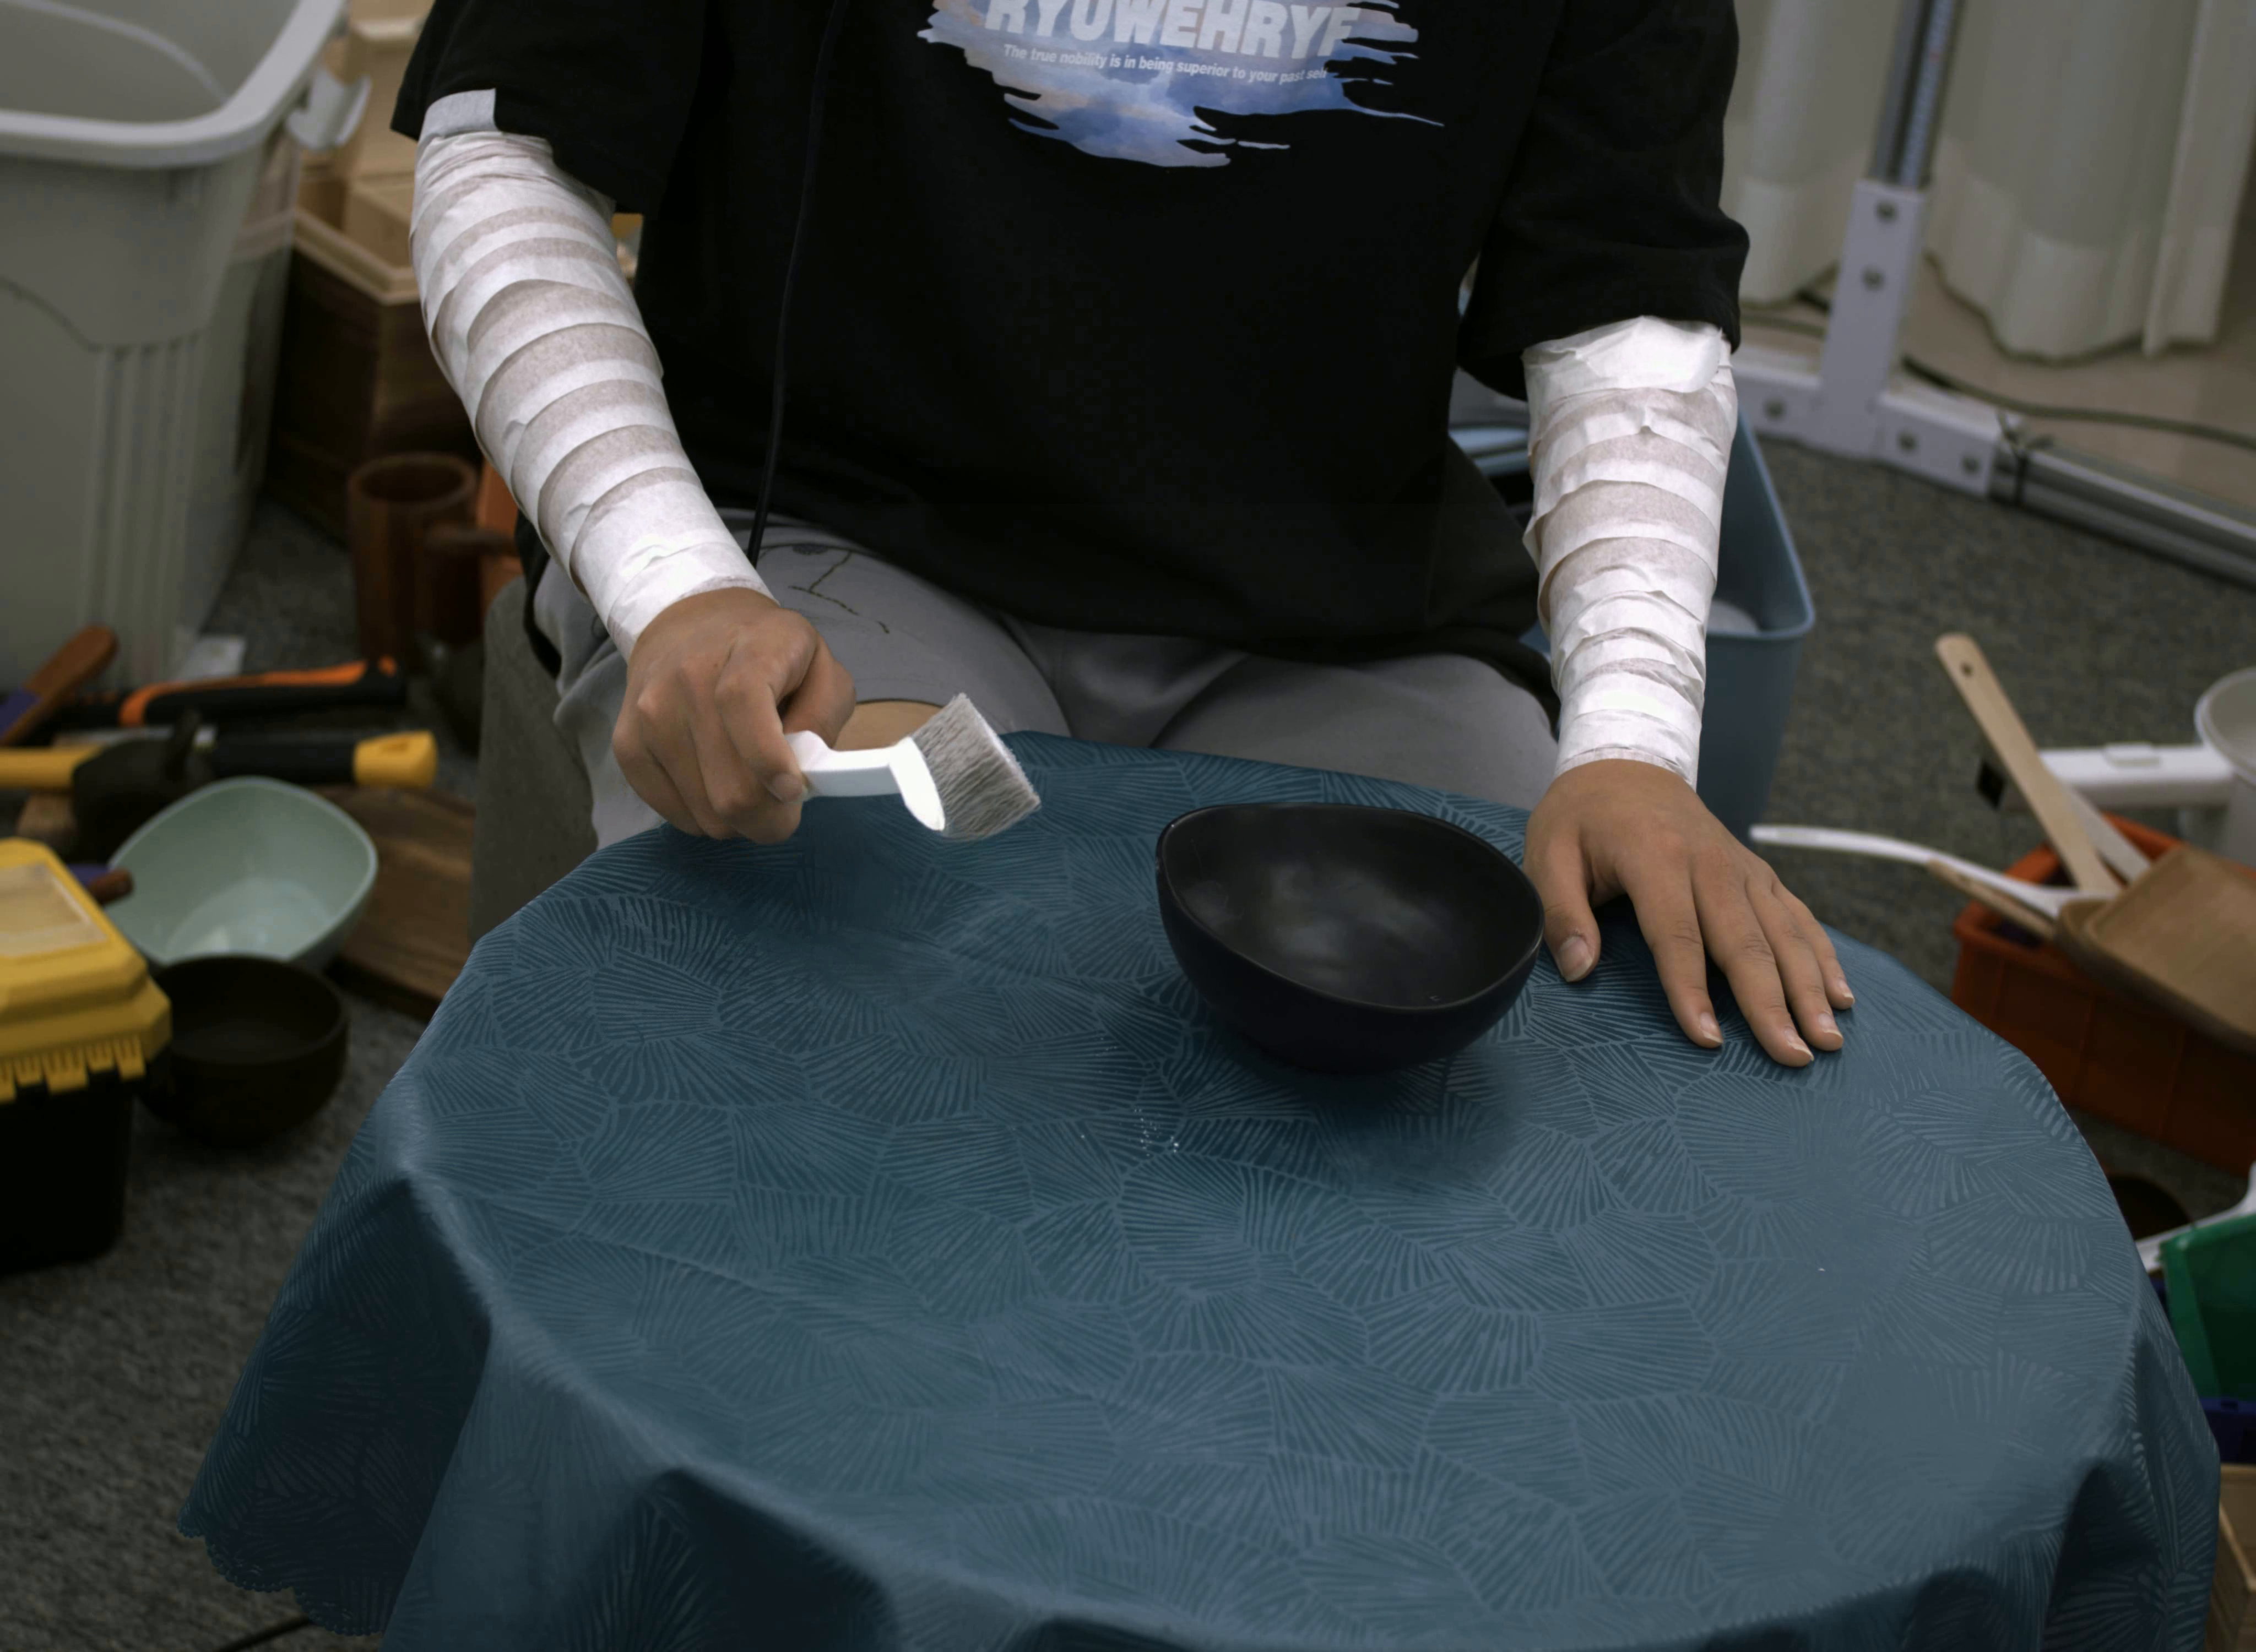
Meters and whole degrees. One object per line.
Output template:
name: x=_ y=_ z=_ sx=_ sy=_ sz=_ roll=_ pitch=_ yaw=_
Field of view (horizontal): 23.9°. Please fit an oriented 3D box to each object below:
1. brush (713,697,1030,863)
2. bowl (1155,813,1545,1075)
brush: x=-0.091 y=-0.024 z=1.881 sx=0.050 sy=0.034 sz=0.245 roll=-47 pitch=19 yaw=-11
bowl: x=0.075 y=0.046 z=1.903 sx=0.136 sy=0.066 sz=0.171 roll=-1 pitch=25 yaw=-14
